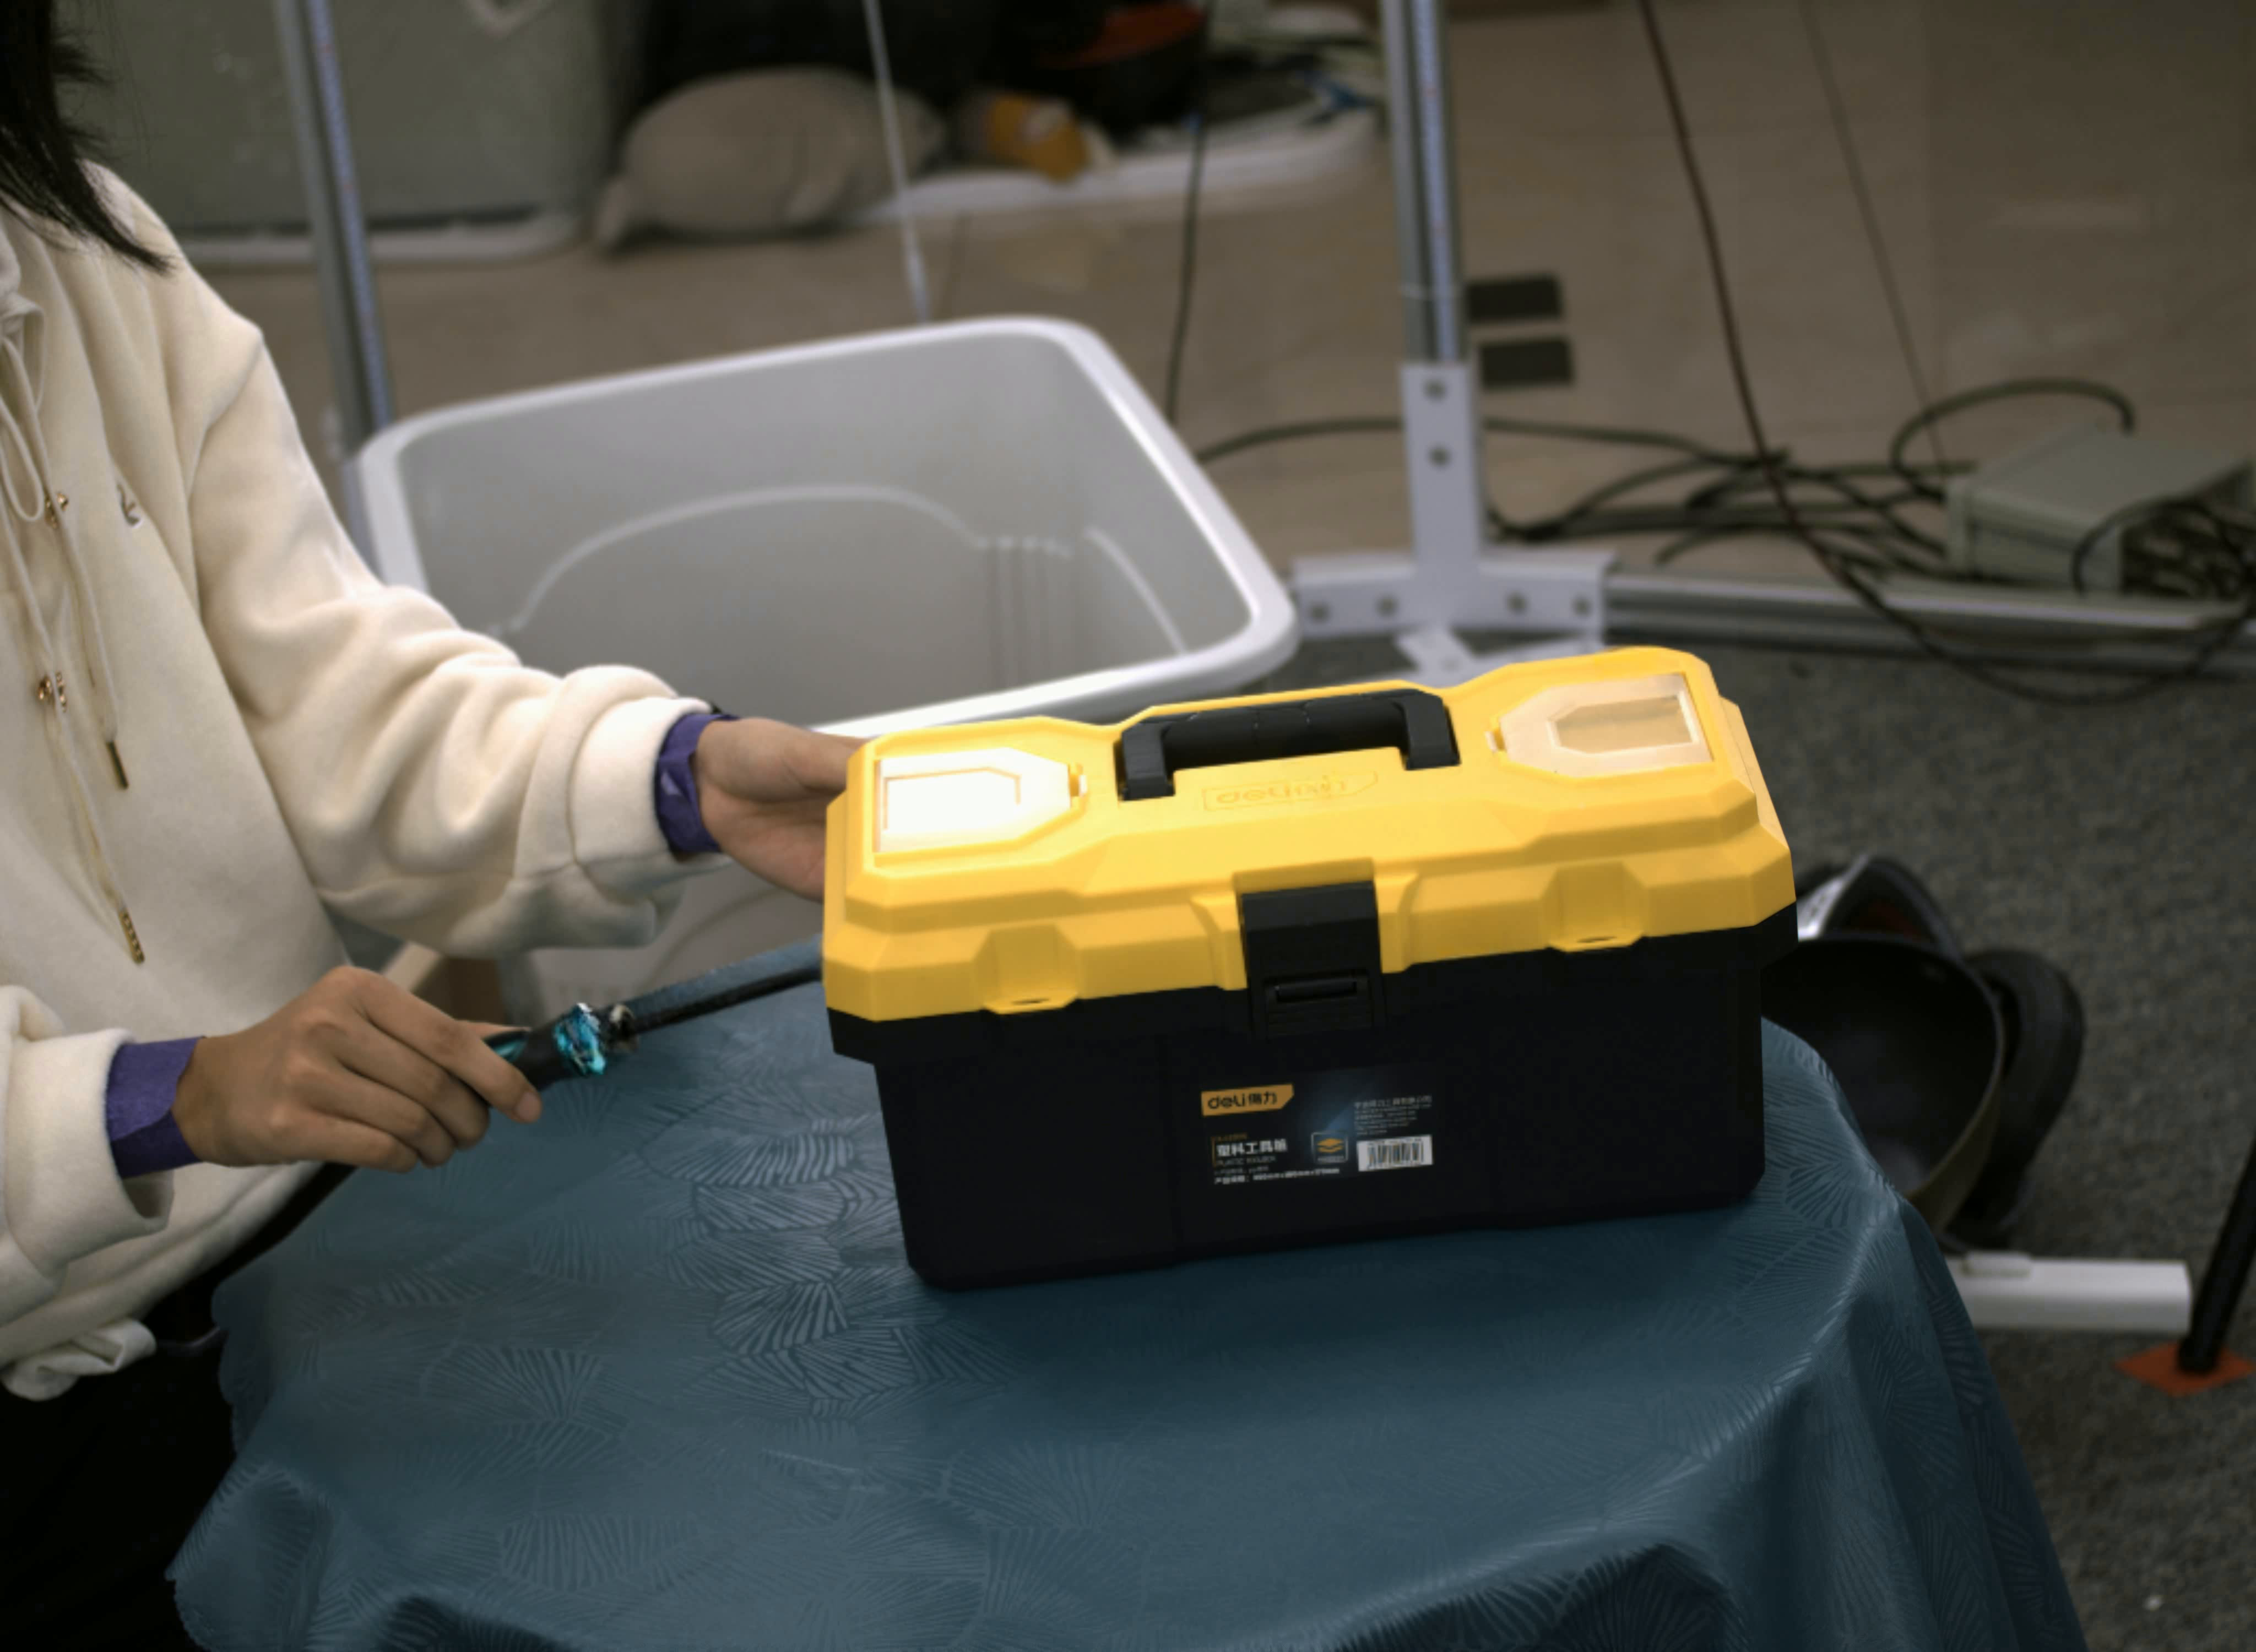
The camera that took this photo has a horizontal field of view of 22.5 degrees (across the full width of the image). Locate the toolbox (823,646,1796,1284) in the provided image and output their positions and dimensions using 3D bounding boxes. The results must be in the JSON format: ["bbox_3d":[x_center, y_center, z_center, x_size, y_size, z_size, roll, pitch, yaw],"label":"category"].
[{"bbox_3d":[0.067,0.053,2.107,0.351,0.175,0.178,-6,25,1],"label":"toolbox"}]

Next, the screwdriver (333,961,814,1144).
[{"bbox_3d":[-0.197,0.077,2.020,0.190,0.034,0.033,-17,22,18],"label":"screwdriver"}]
